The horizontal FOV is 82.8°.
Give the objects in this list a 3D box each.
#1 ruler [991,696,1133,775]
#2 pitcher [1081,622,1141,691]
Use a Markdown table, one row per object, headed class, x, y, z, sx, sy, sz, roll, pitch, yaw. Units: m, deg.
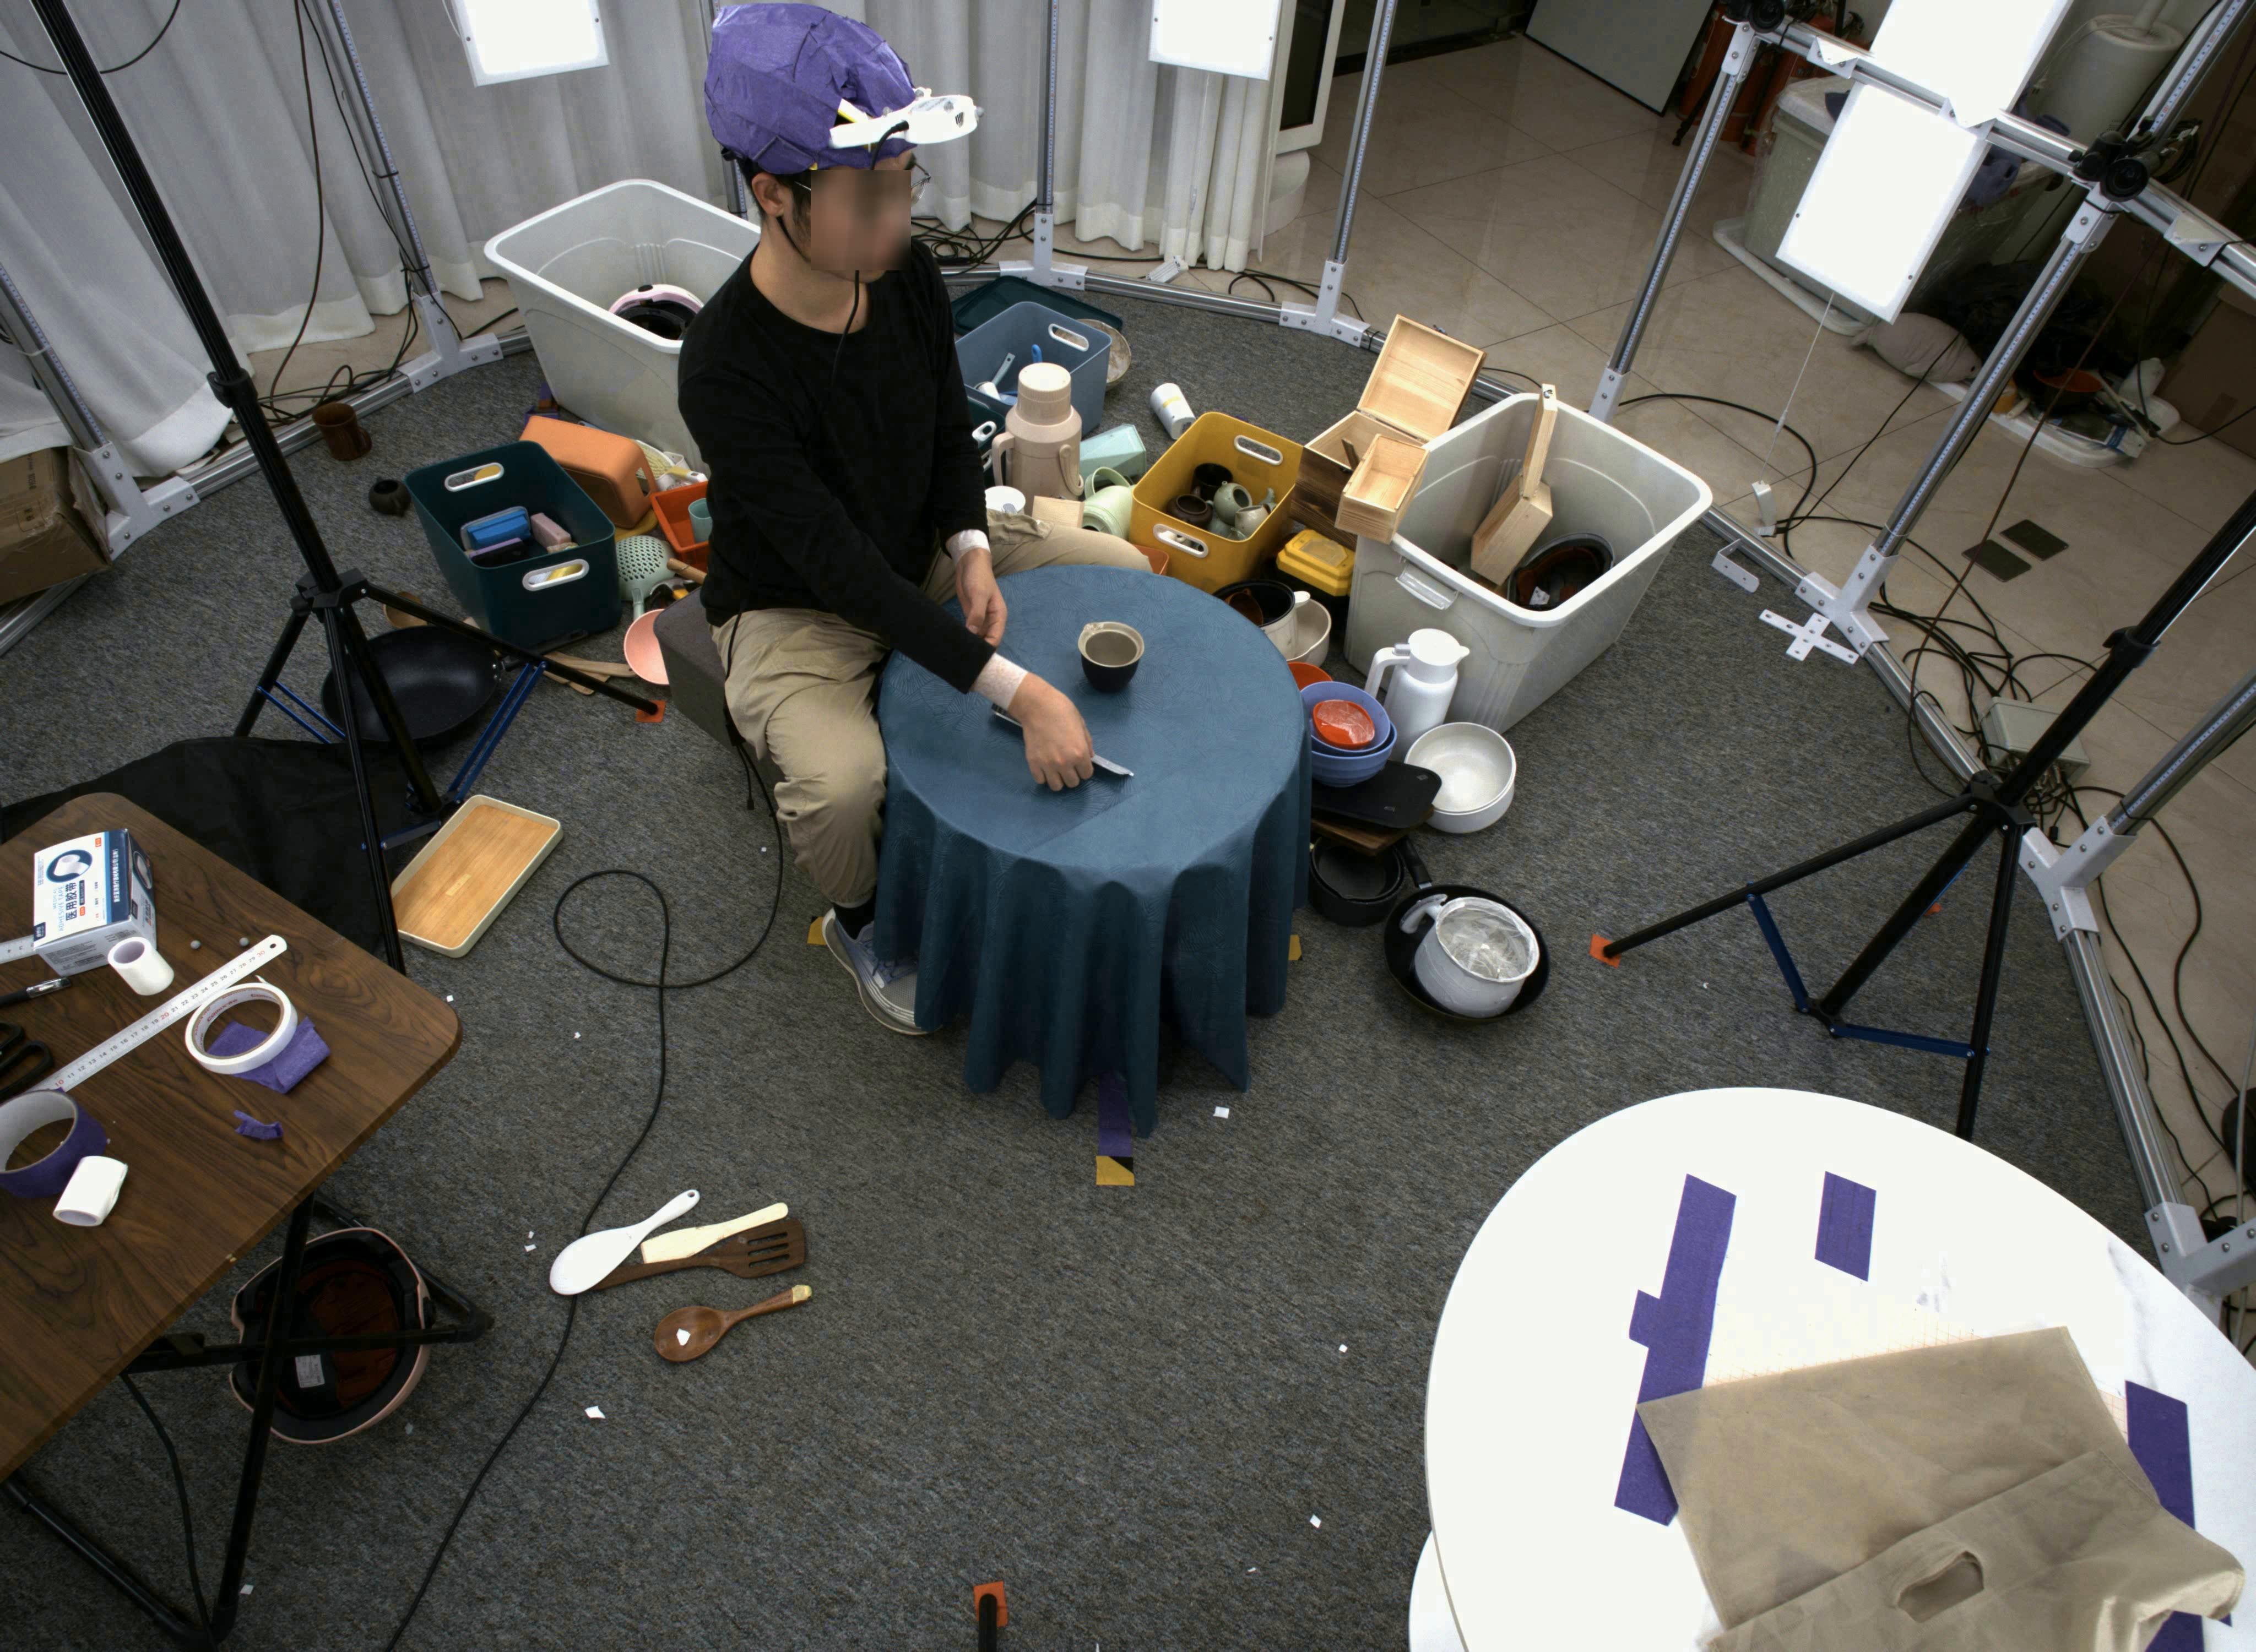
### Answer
| class | x | y | z | sx | sy | sz | roll | pitch | yaw |
| --- | --- | --- | --- | --- | --- | --- | --- | --- | --- |
| ruler | -0.091 | -0.125 | 1.746 | 0.220 | 0.024 | 0.038 | 26 | 24 | 19 |
| pitcher | -0.029 | -0.237 | 1.827 | 0.084 | 0.069 | 0.097 | -31 | 58 | -26 |
